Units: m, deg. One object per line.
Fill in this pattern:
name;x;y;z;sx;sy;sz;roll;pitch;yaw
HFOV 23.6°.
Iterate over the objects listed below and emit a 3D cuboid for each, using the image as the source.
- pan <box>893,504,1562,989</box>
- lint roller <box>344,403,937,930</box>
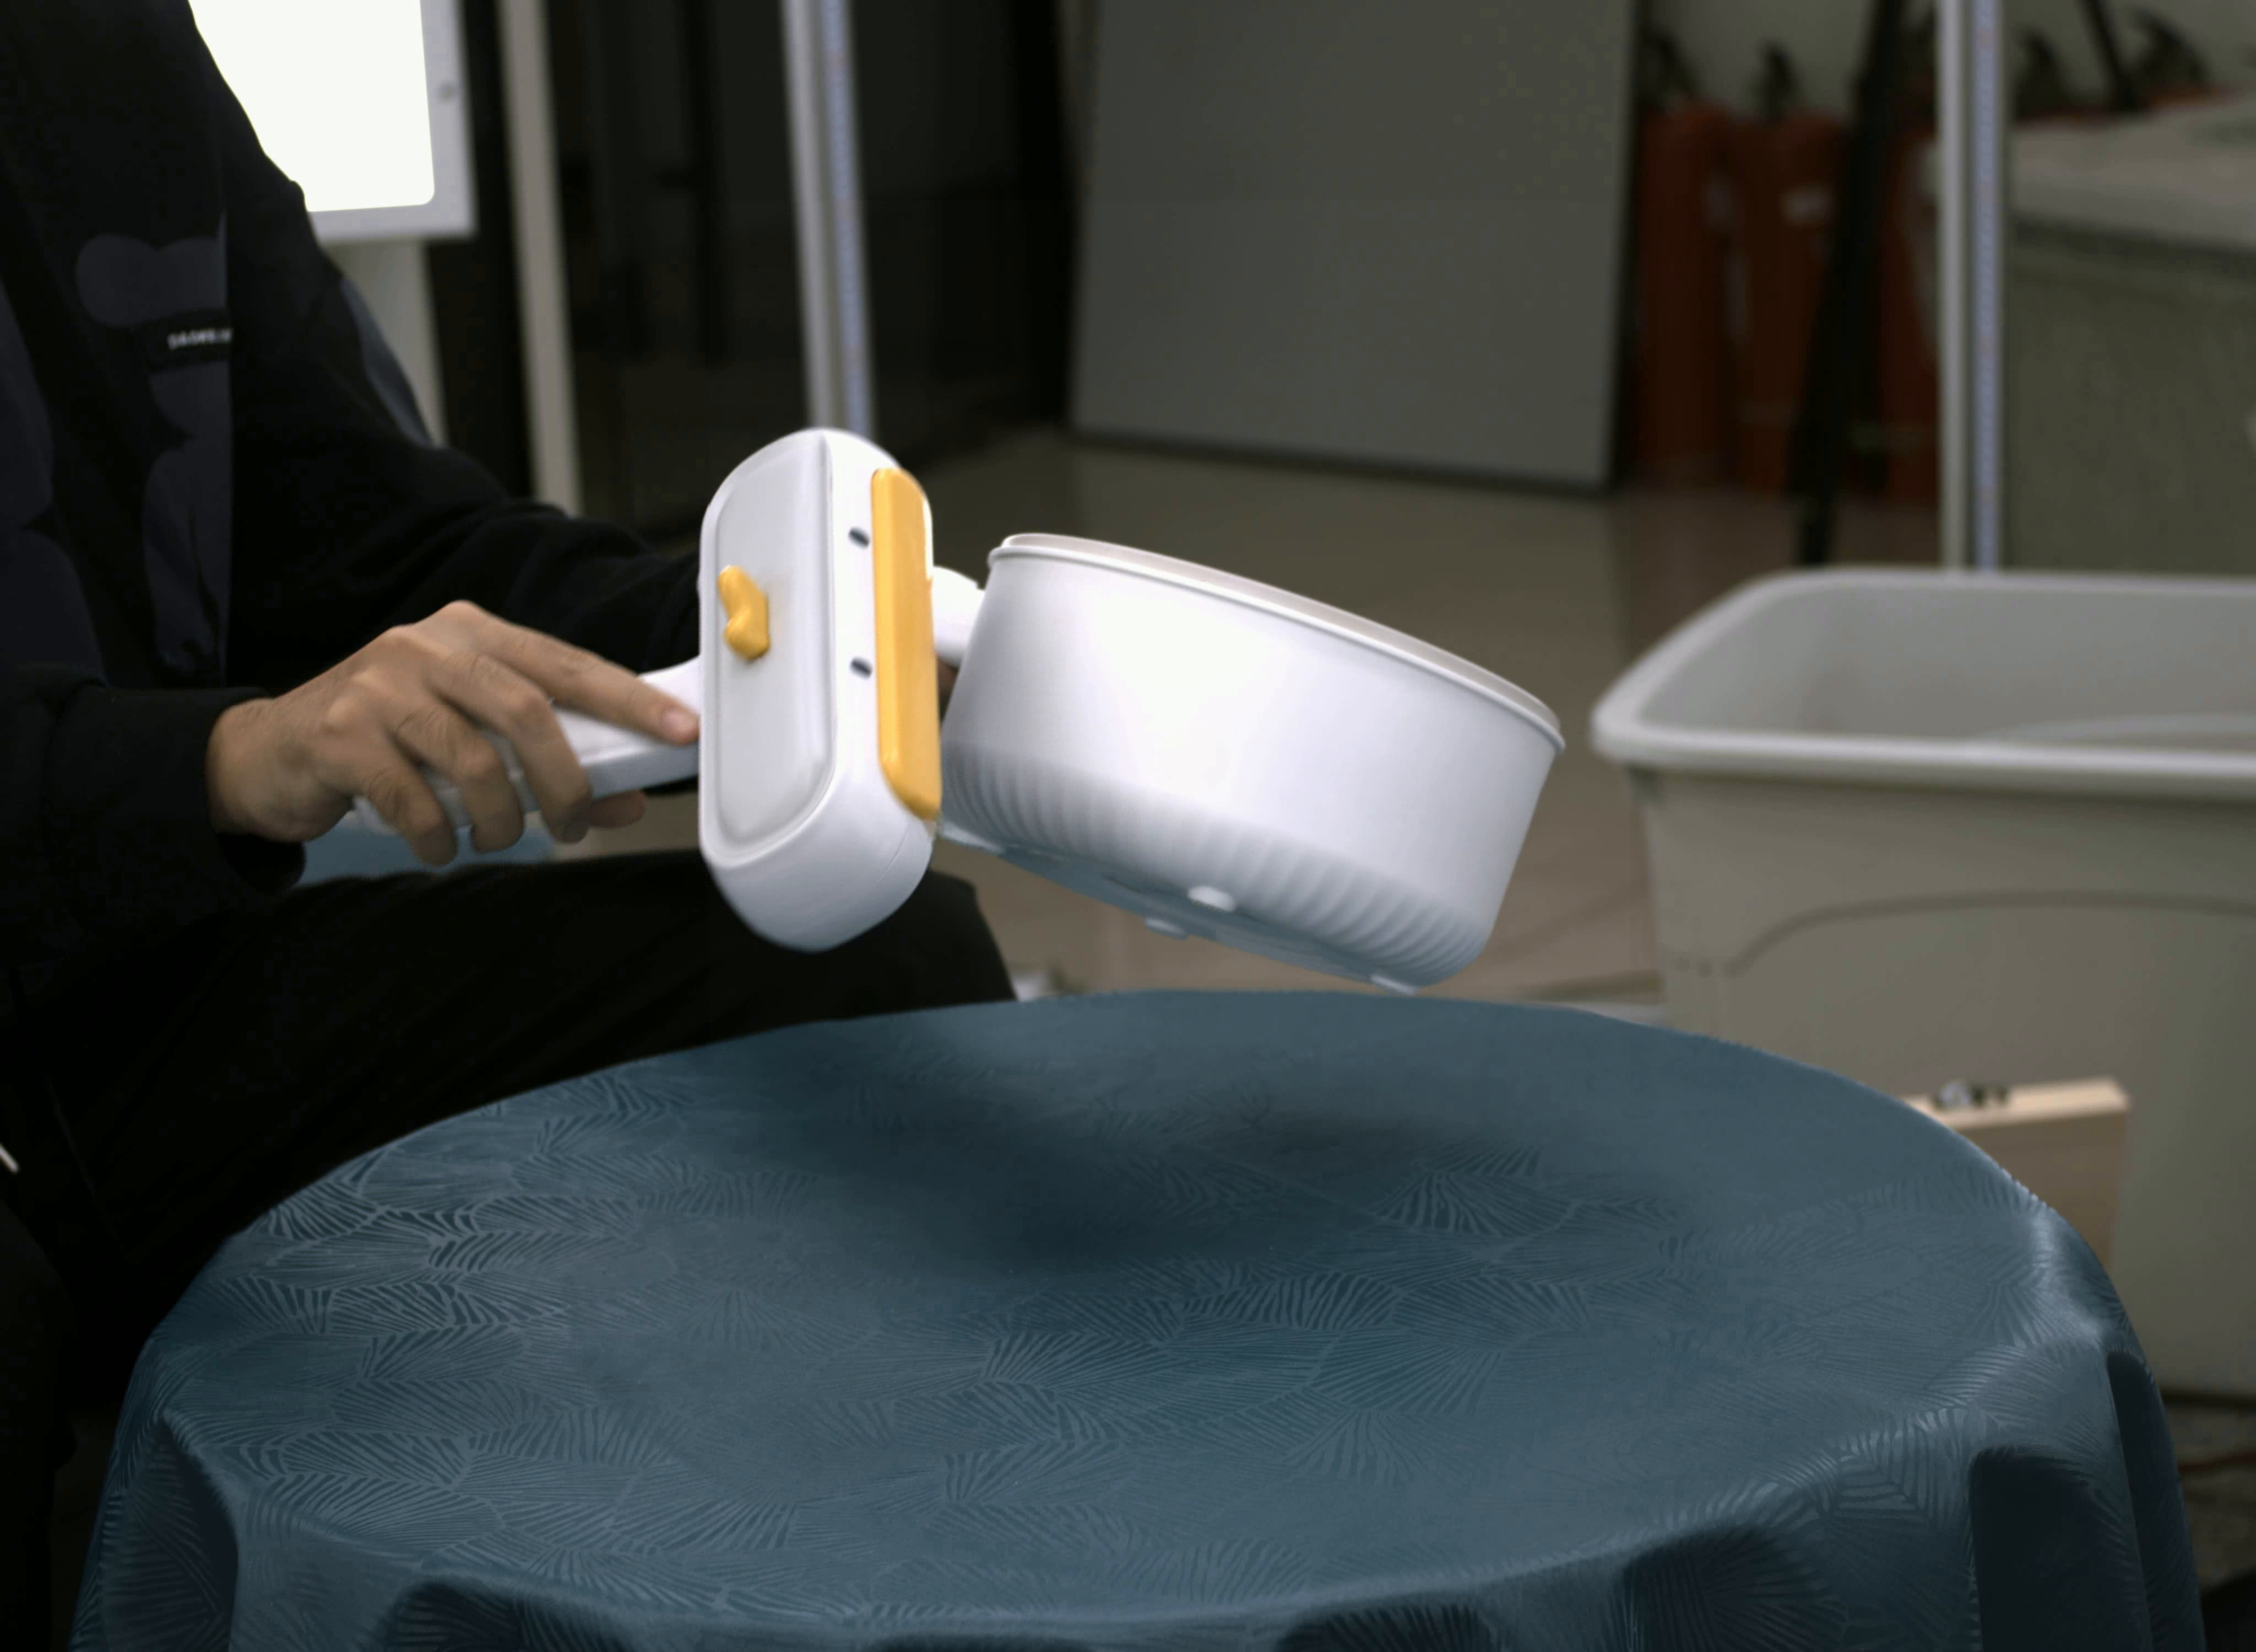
pan;-0.020;-0.034;1.828;0.358;0.103;0.197;13;-10;43
lint roller;-0.152;-0.031;1.688;0.192;0.073;0.195;-26;47;18
